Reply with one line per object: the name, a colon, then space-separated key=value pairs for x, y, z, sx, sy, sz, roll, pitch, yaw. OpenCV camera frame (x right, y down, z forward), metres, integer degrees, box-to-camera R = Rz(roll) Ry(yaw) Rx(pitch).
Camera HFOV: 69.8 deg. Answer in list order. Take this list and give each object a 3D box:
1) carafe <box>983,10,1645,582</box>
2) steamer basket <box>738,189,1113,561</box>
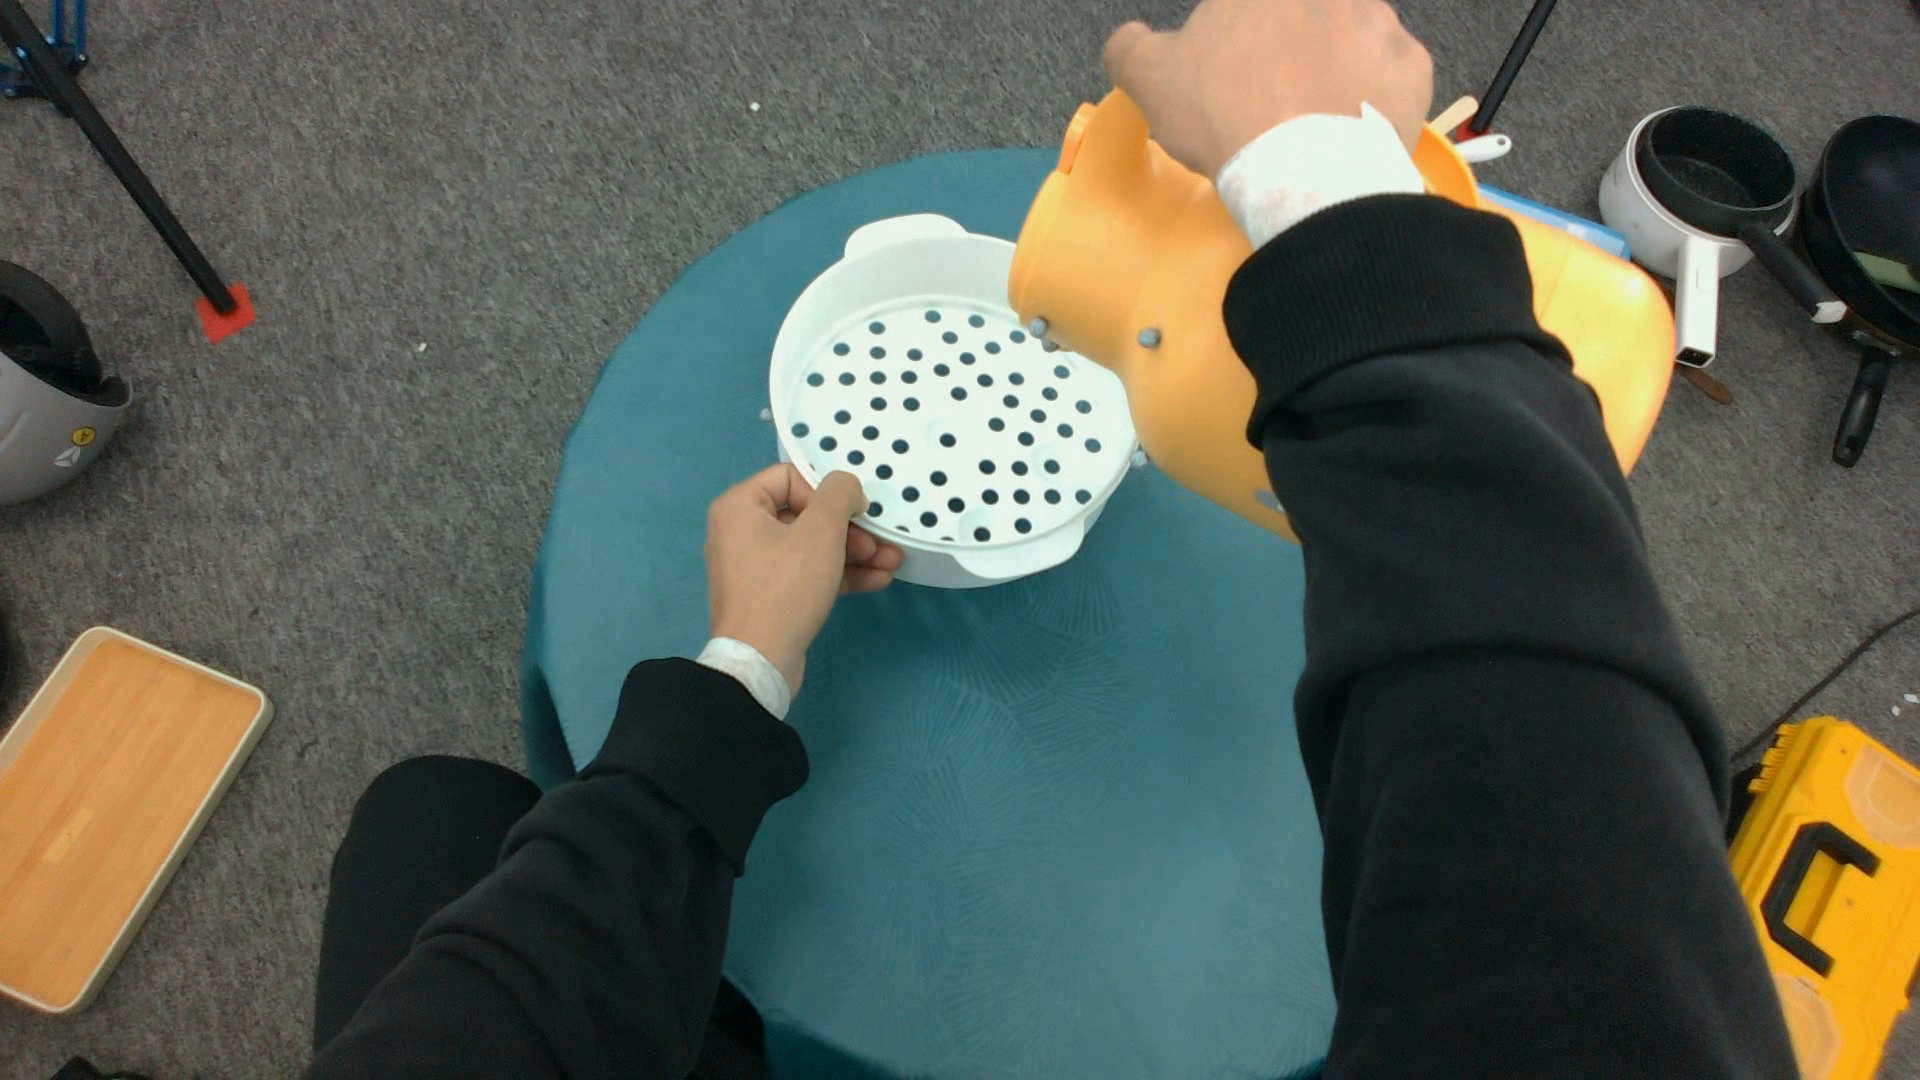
carafe: x=0.140 y=-0.107 z=0.574 sx=0.260 sy=0.201 sz=0.164 roll=25 pitch=66 yaw=9
steamer basket: x=-0.021 y=-0.085 z=0.759 sx=0.202 sy=0.069 sz=0.231 roll=-15 pitch=67 yaw=-16
